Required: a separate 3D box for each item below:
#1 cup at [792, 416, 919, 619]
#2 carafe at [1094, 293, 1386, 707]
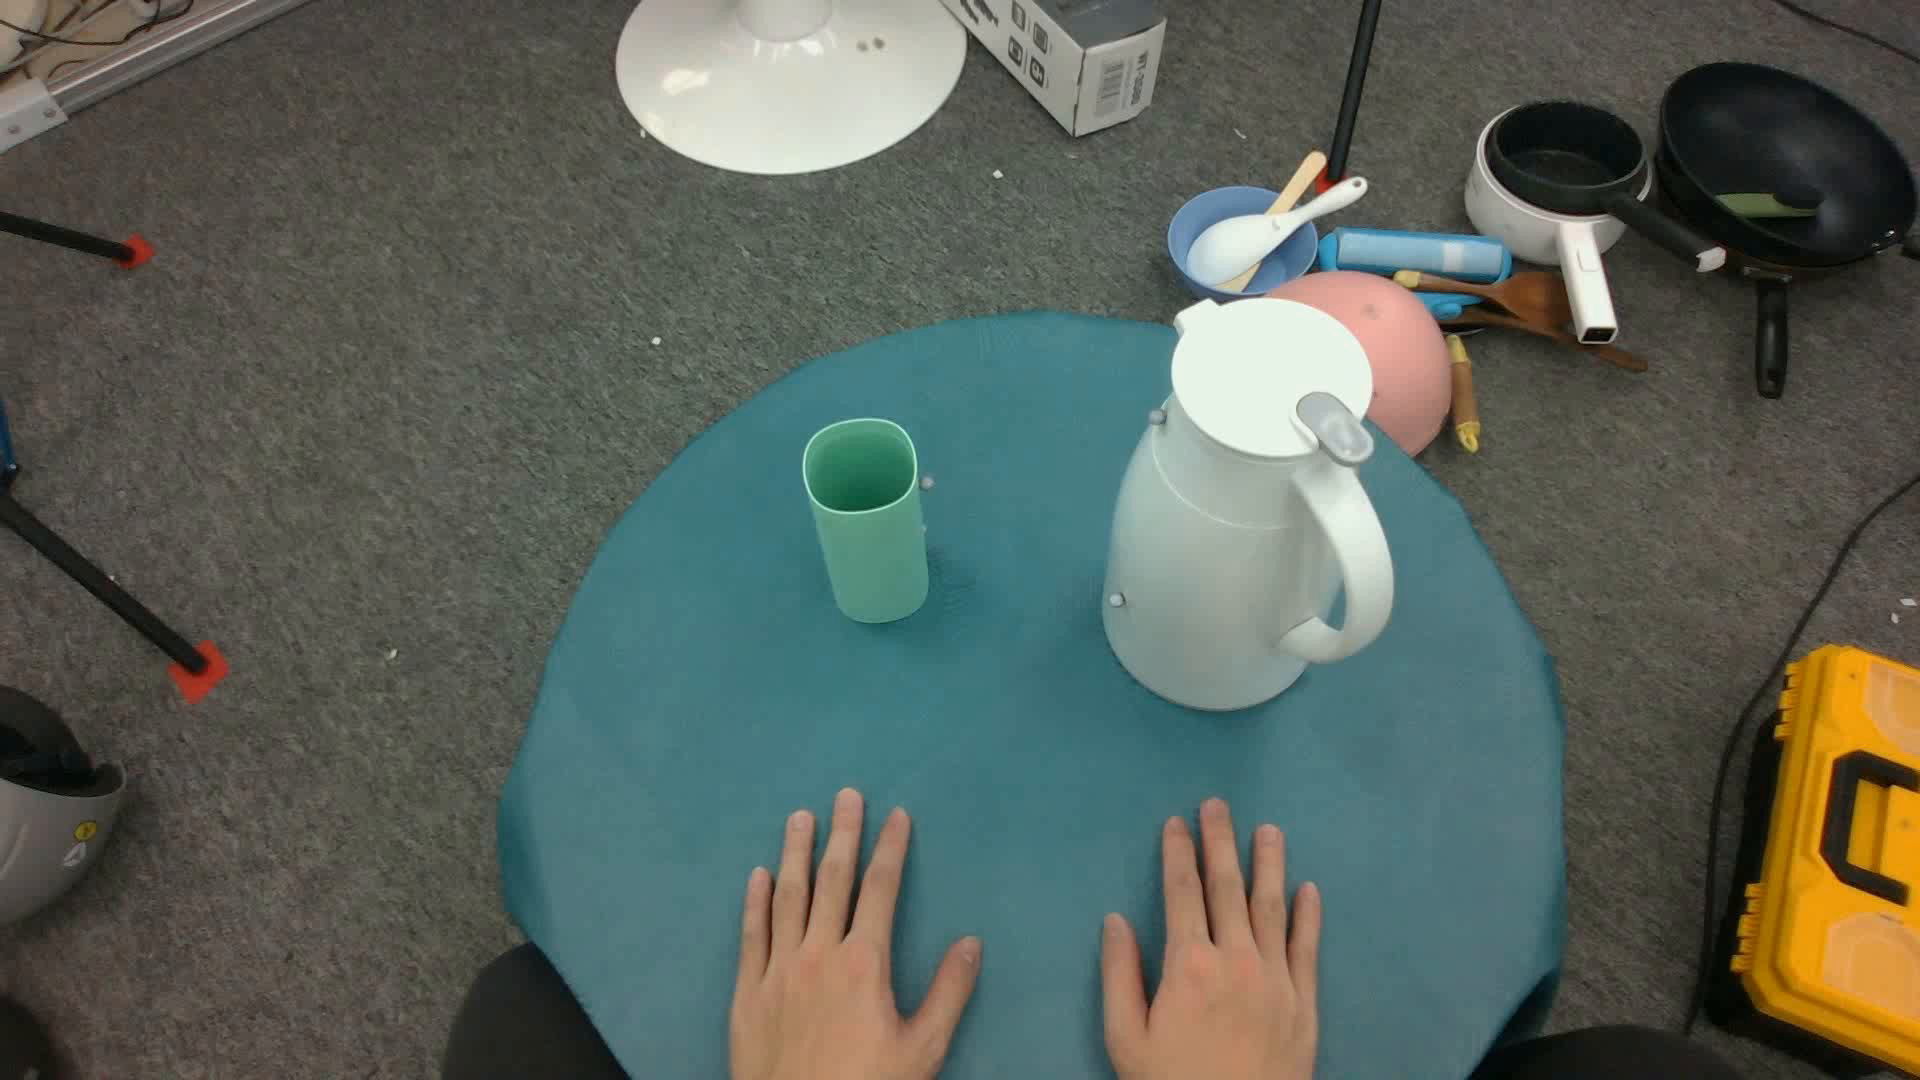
[{"bbox_3d":[-0.058,-0.009,0.806,0.067,0.132,0.067,-1,60,2],"label":"cup"},{"bbox_3d":[0.155,-0.007,0.728,0.133,0.247,0.168,-28,63,-14],"label":"carafe"}]
